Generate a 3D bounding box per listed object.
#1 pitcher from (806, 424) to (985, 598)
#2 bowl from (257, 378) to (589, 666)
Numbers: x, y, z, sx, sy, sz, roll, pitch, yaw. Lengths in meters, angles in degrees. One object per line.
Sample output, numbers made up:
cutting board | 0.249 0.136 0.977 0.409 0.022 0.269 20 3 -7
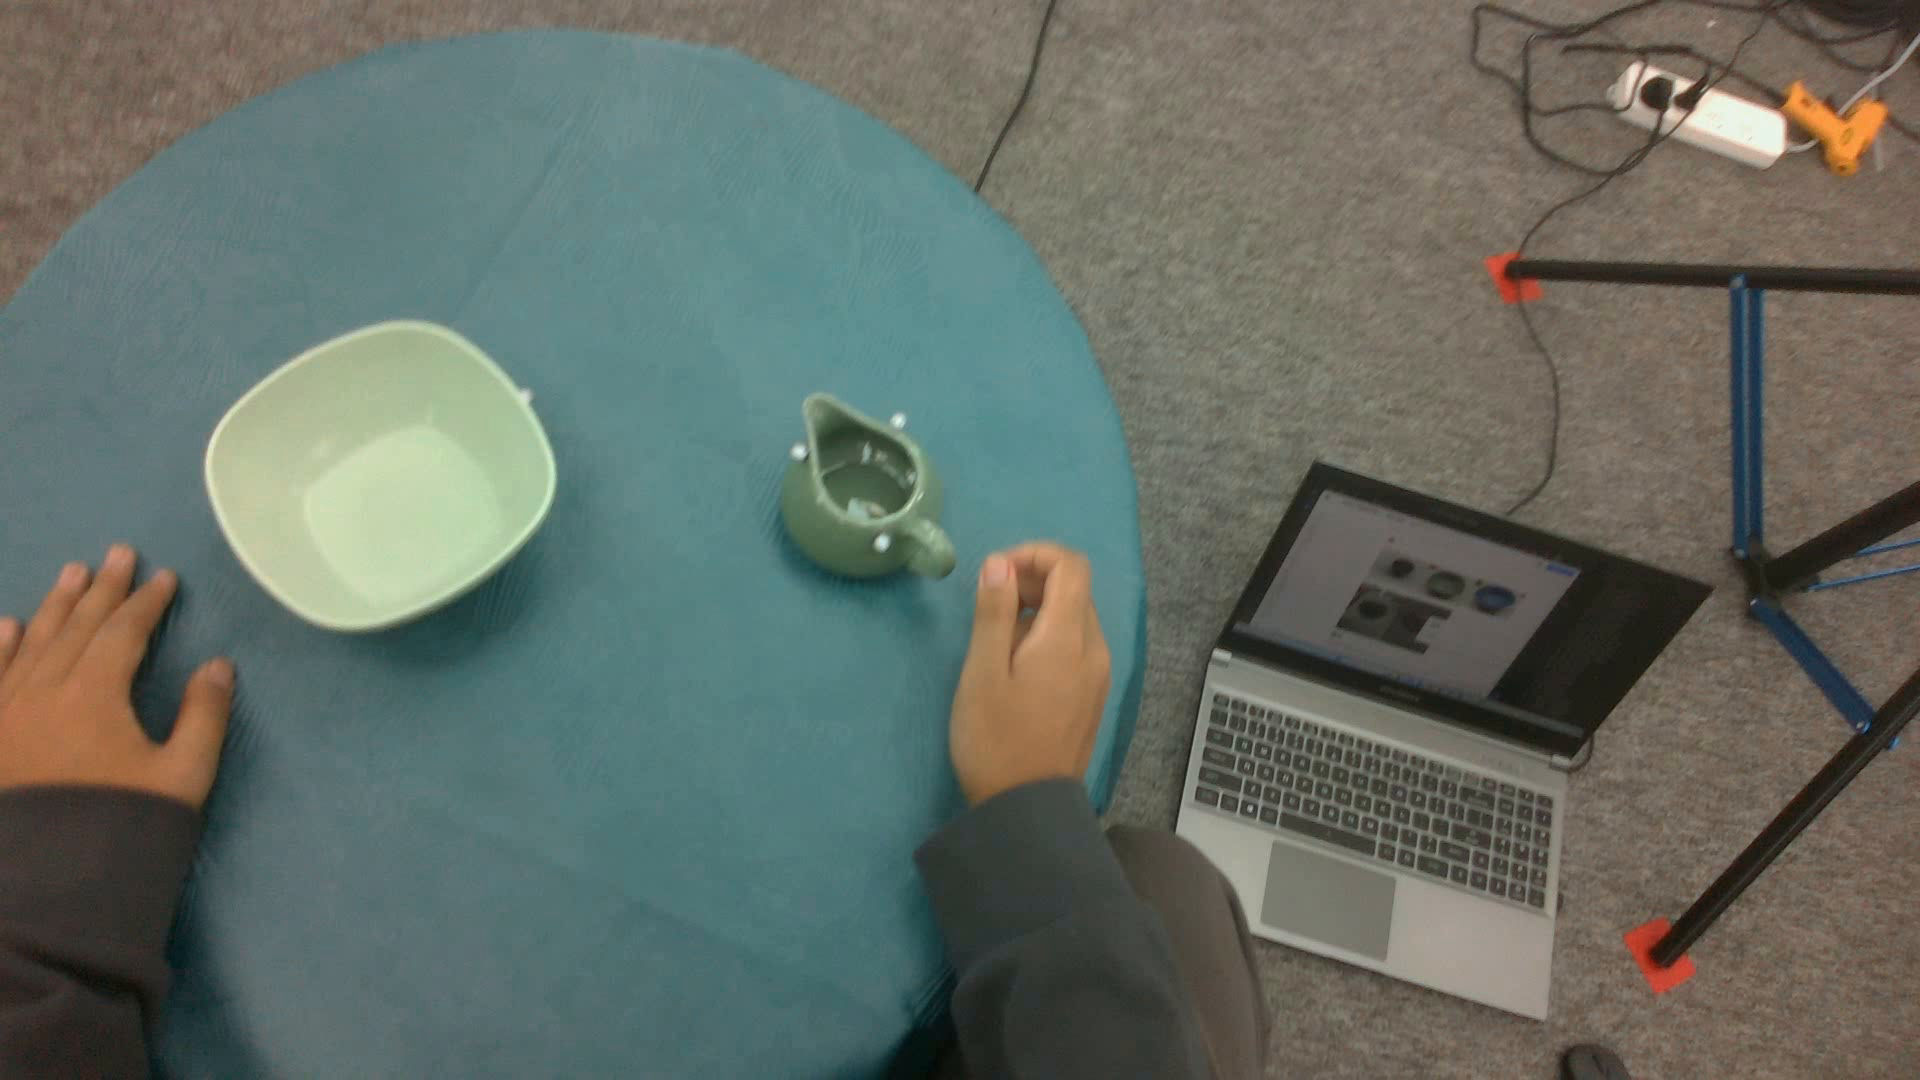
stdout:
pitcher | -0.033 -0.009 0.715 0.112 0.056 0.084 44 68 11
bowl | -0.257 -0.001 0.678 0.151 0.058 0.152 3 64 -6
